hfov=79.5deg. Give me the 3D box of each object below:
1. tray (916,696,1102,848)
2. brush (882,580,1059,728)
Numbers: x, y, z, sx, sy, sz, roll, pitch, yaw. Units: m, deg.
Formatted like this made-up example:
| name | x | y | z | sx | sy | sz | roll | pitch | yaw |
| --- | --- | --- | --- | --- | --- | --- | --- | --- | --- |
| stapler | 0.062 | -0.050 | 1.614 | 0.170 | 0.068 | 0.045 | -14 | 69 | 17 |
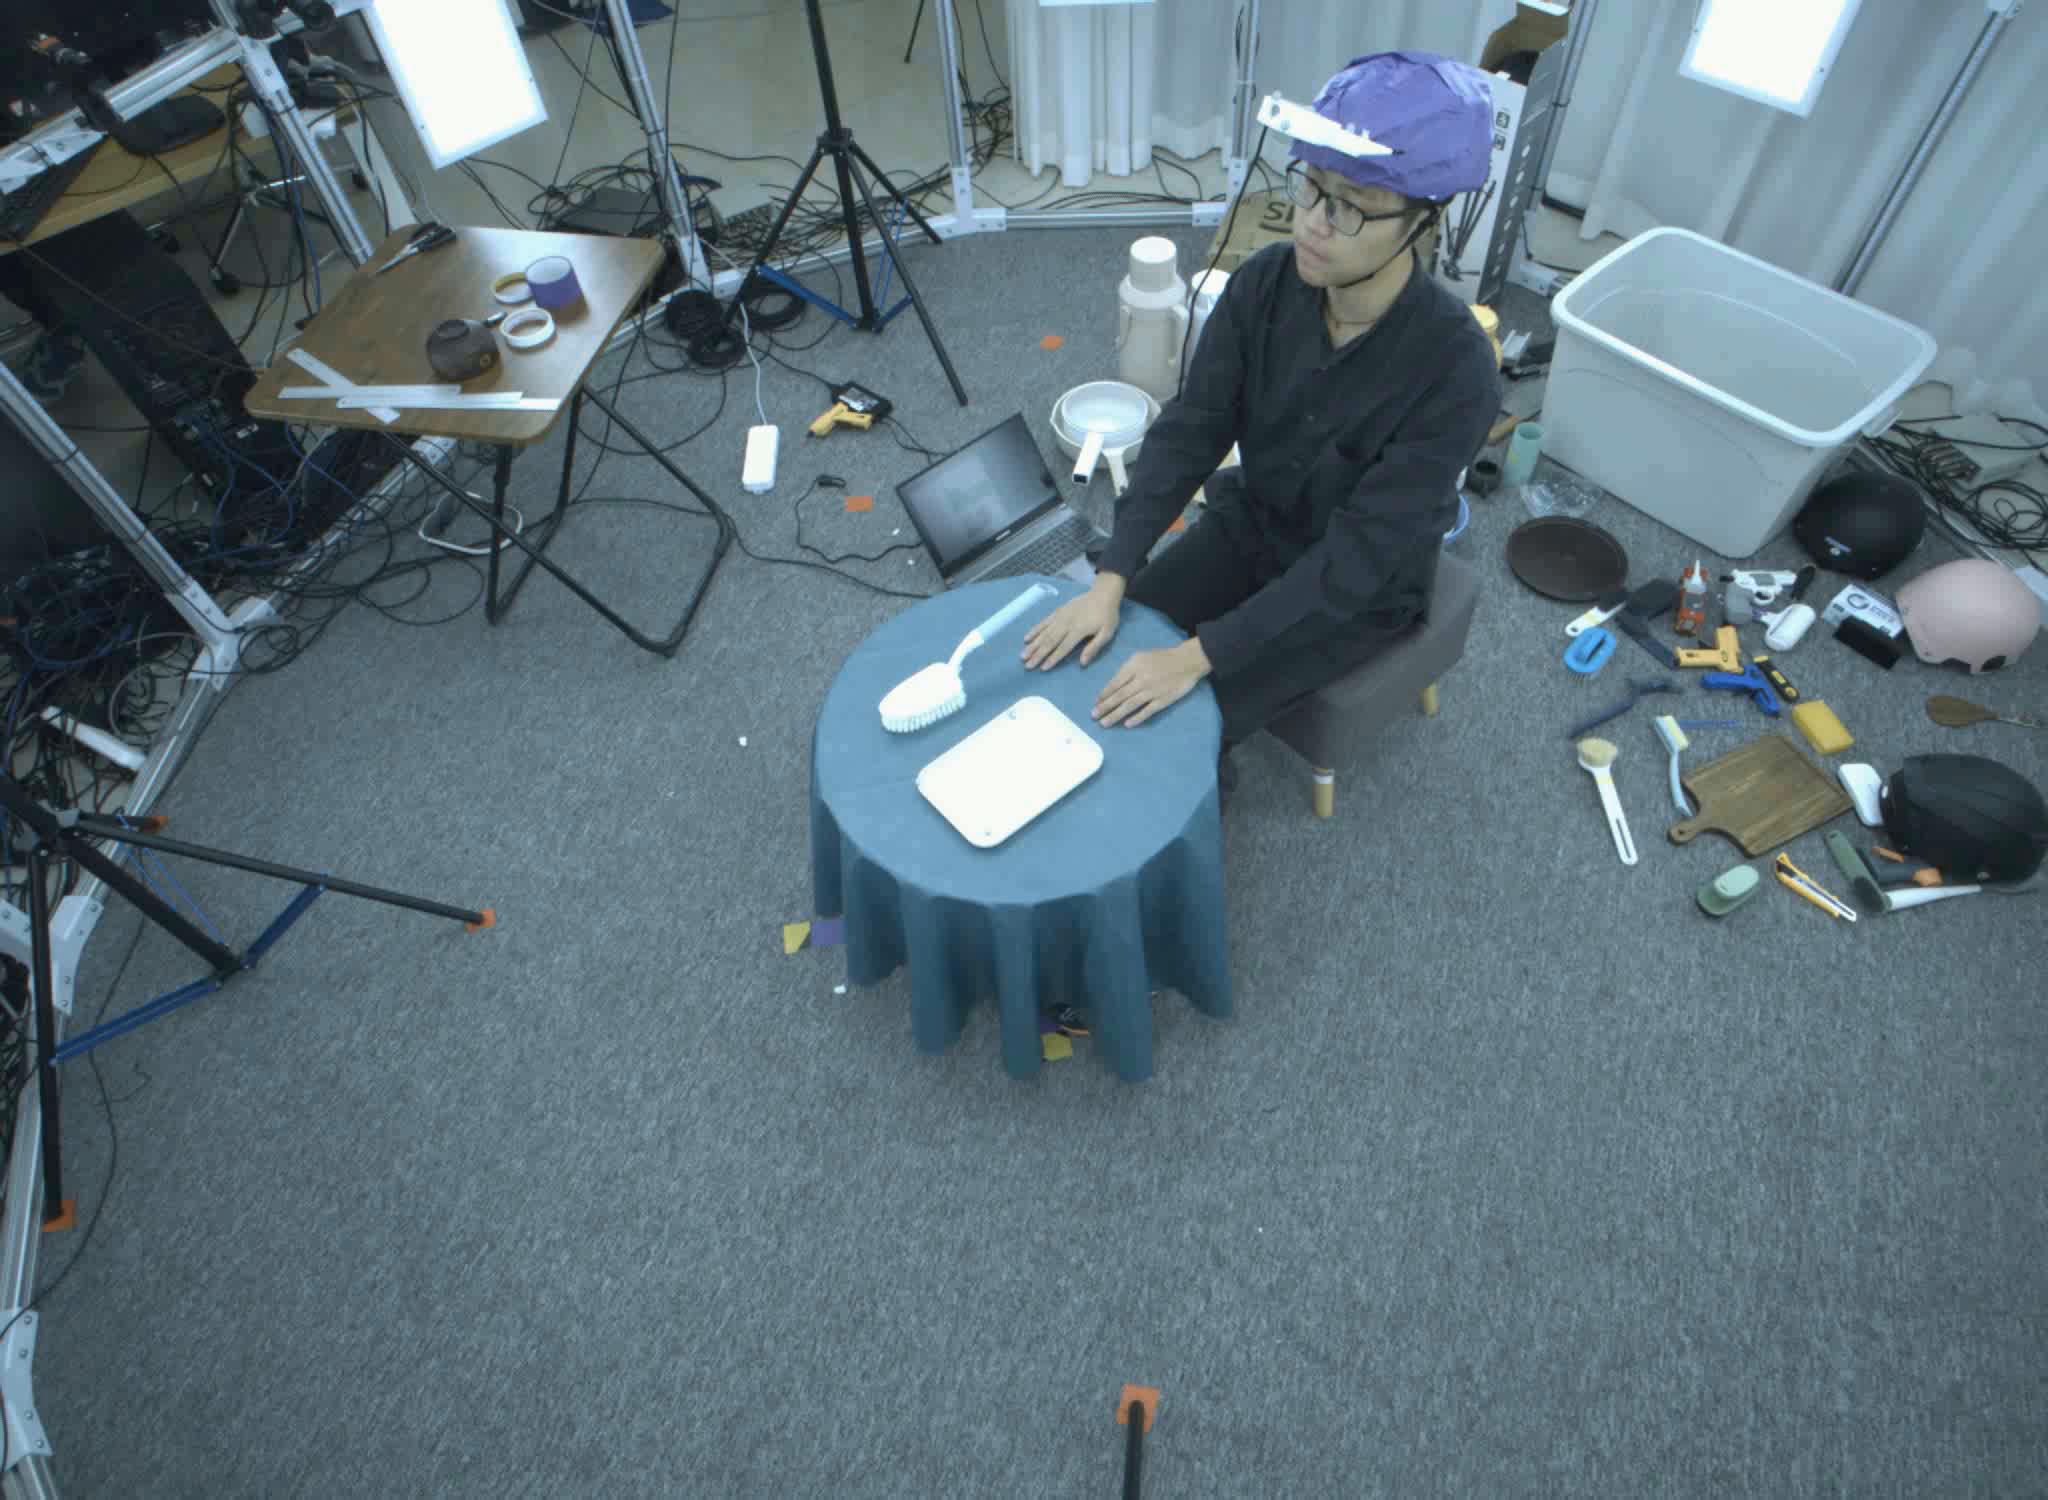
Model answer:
| name | x | y | z | sx | sy | sz | roll | pitch | yaw |
| --- | --- | --- | --- | --- | --- | --- | --- | --- | --- |
| tray | -0.021 | 0.030 | 1.757 | 0.241 | 0.017 | 0.168 | -36 | 61 | -21 |
| brush | -0.070 | -0.134 | 1.834 | 0.326 | 0.084 | 0.083 | -37 | 97 | -8 |
